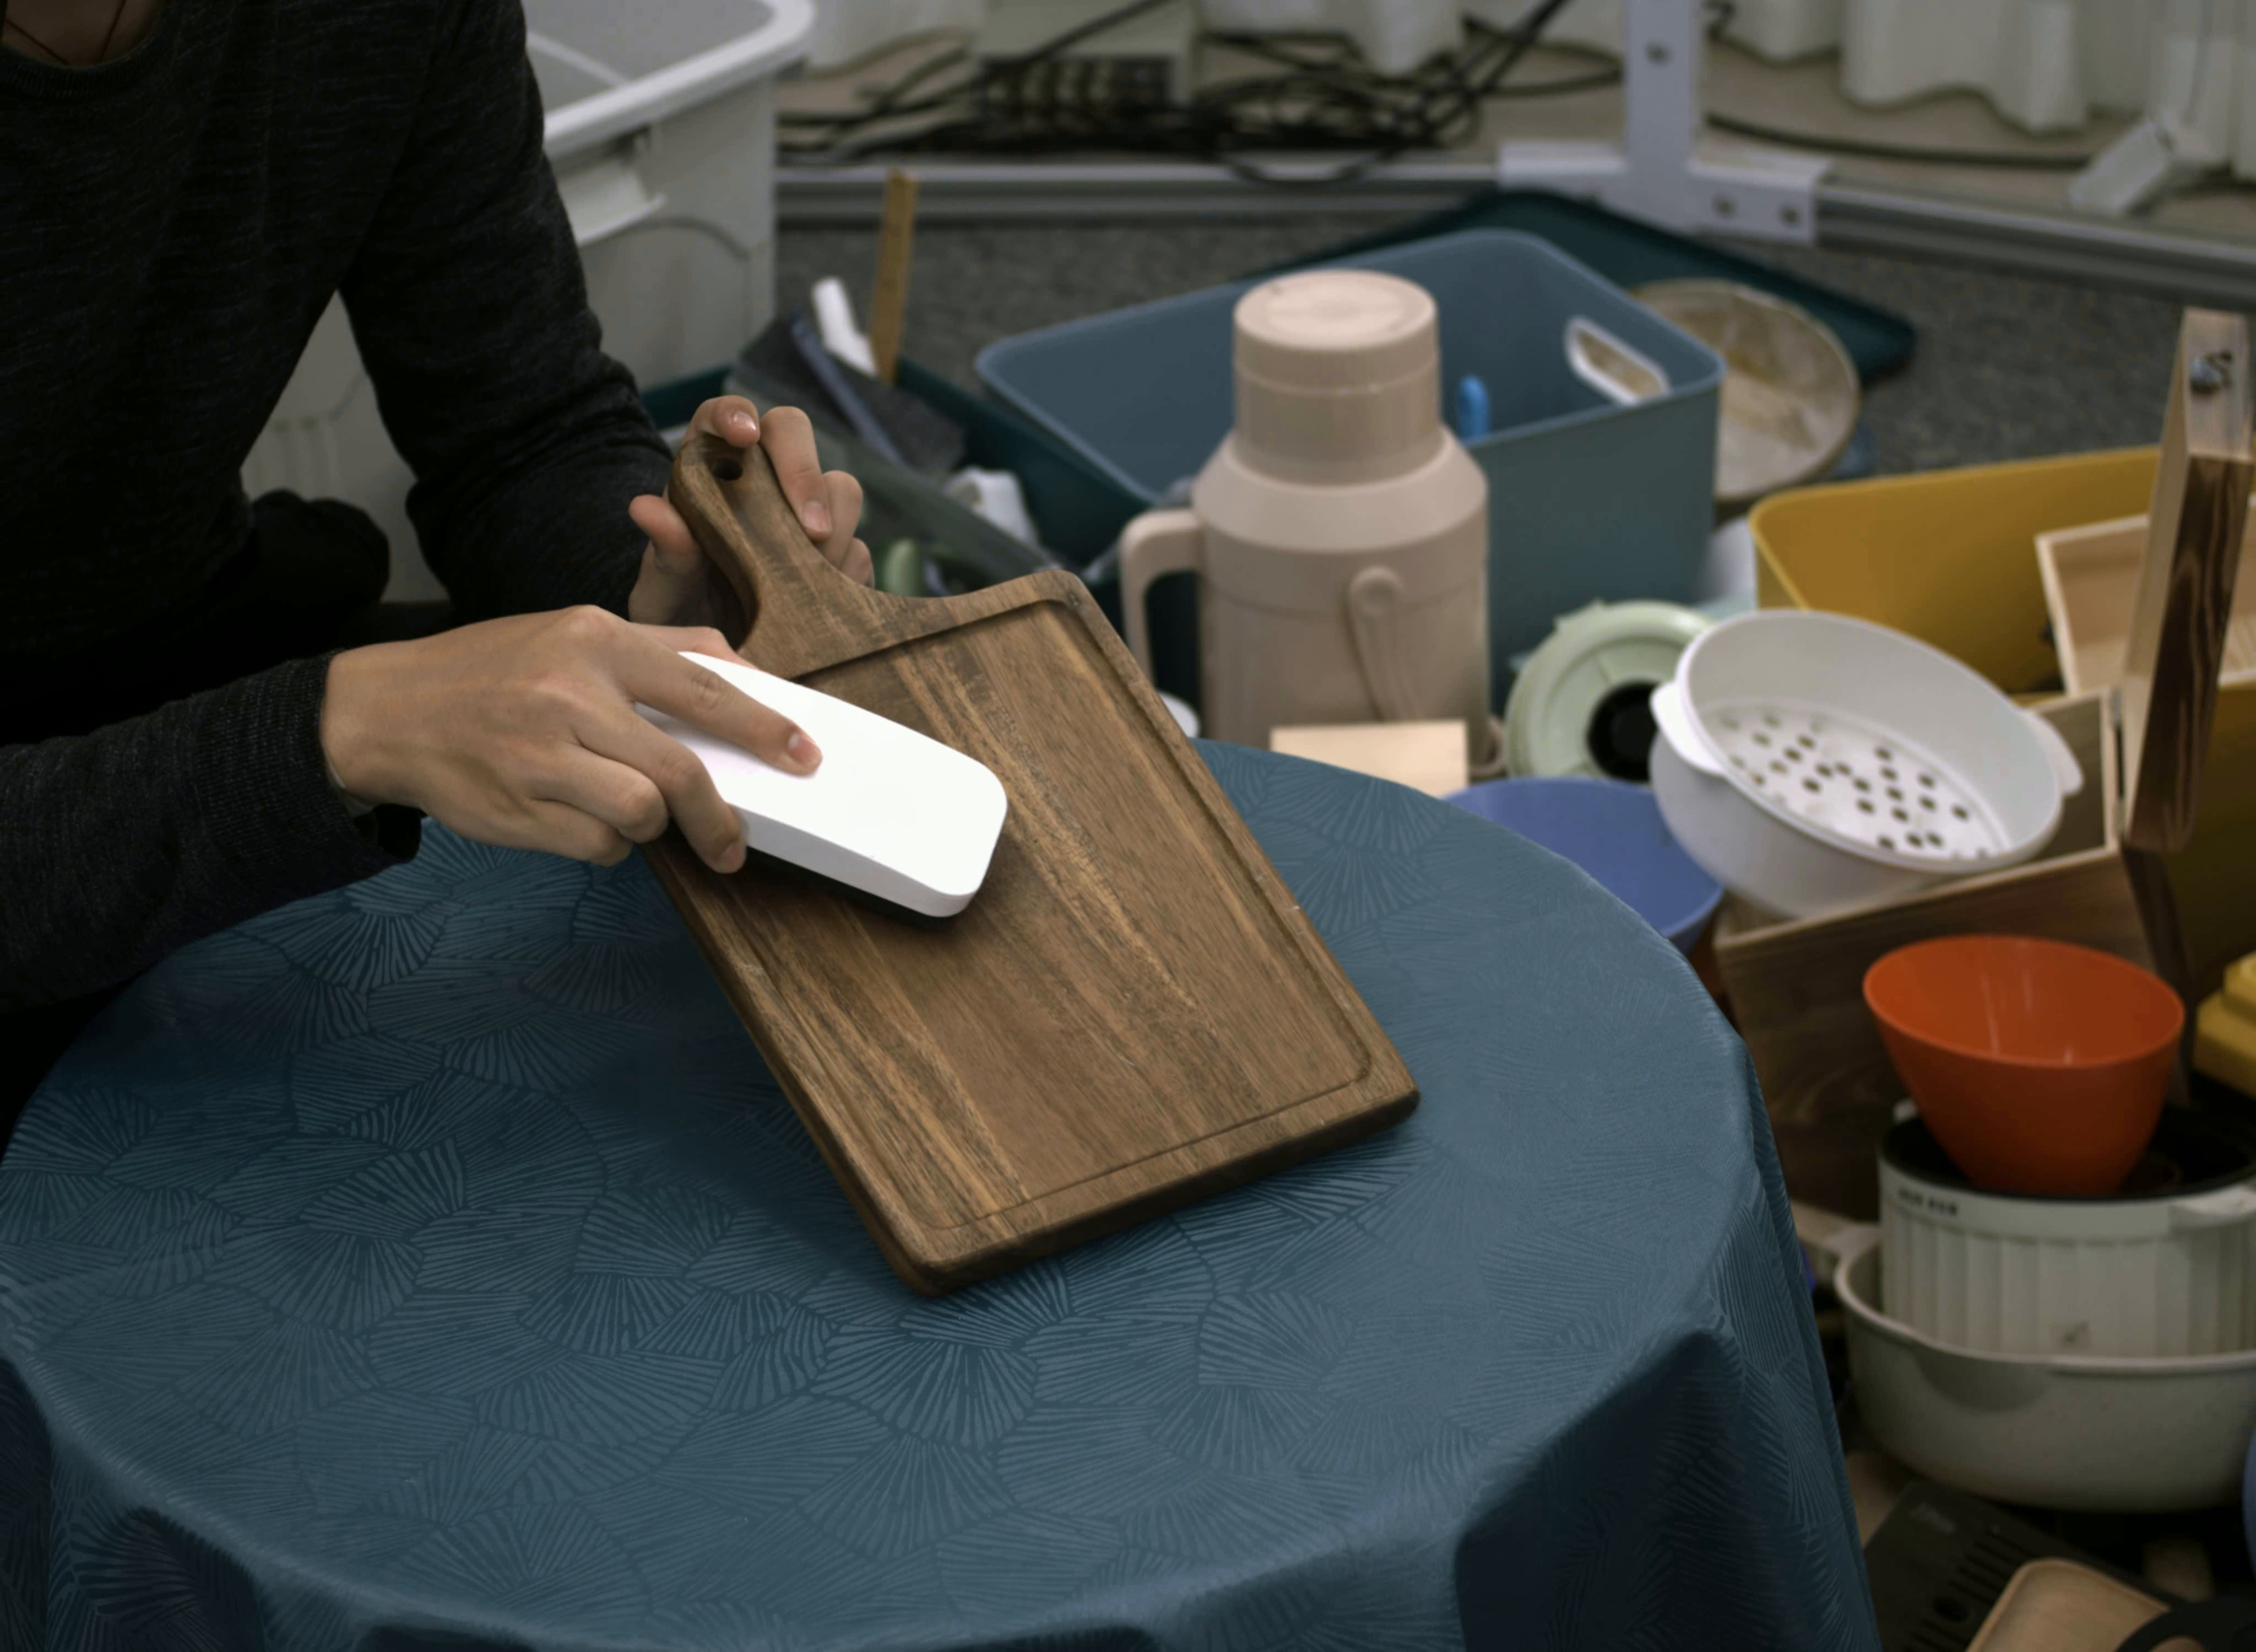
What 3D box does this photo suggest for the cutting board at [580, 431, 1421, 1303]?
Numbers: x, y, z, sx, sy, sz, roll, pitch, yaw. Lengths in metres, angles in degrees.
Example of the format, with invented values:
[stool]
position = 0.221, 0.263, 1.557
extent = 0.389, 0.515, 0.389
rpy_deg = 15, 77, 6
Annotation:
[cutting board]
position = -0.068, -0.006, 1.927
extent = 0.202, 0.023, 0.356
rpy_deg = -18, 57, -27

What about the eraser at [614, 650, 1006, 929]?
[eraser]
position = -0.107, -0.014, 1.890
extent = 0.131, 0.034, 0.065
rpy_deg = 22, 47, -5
